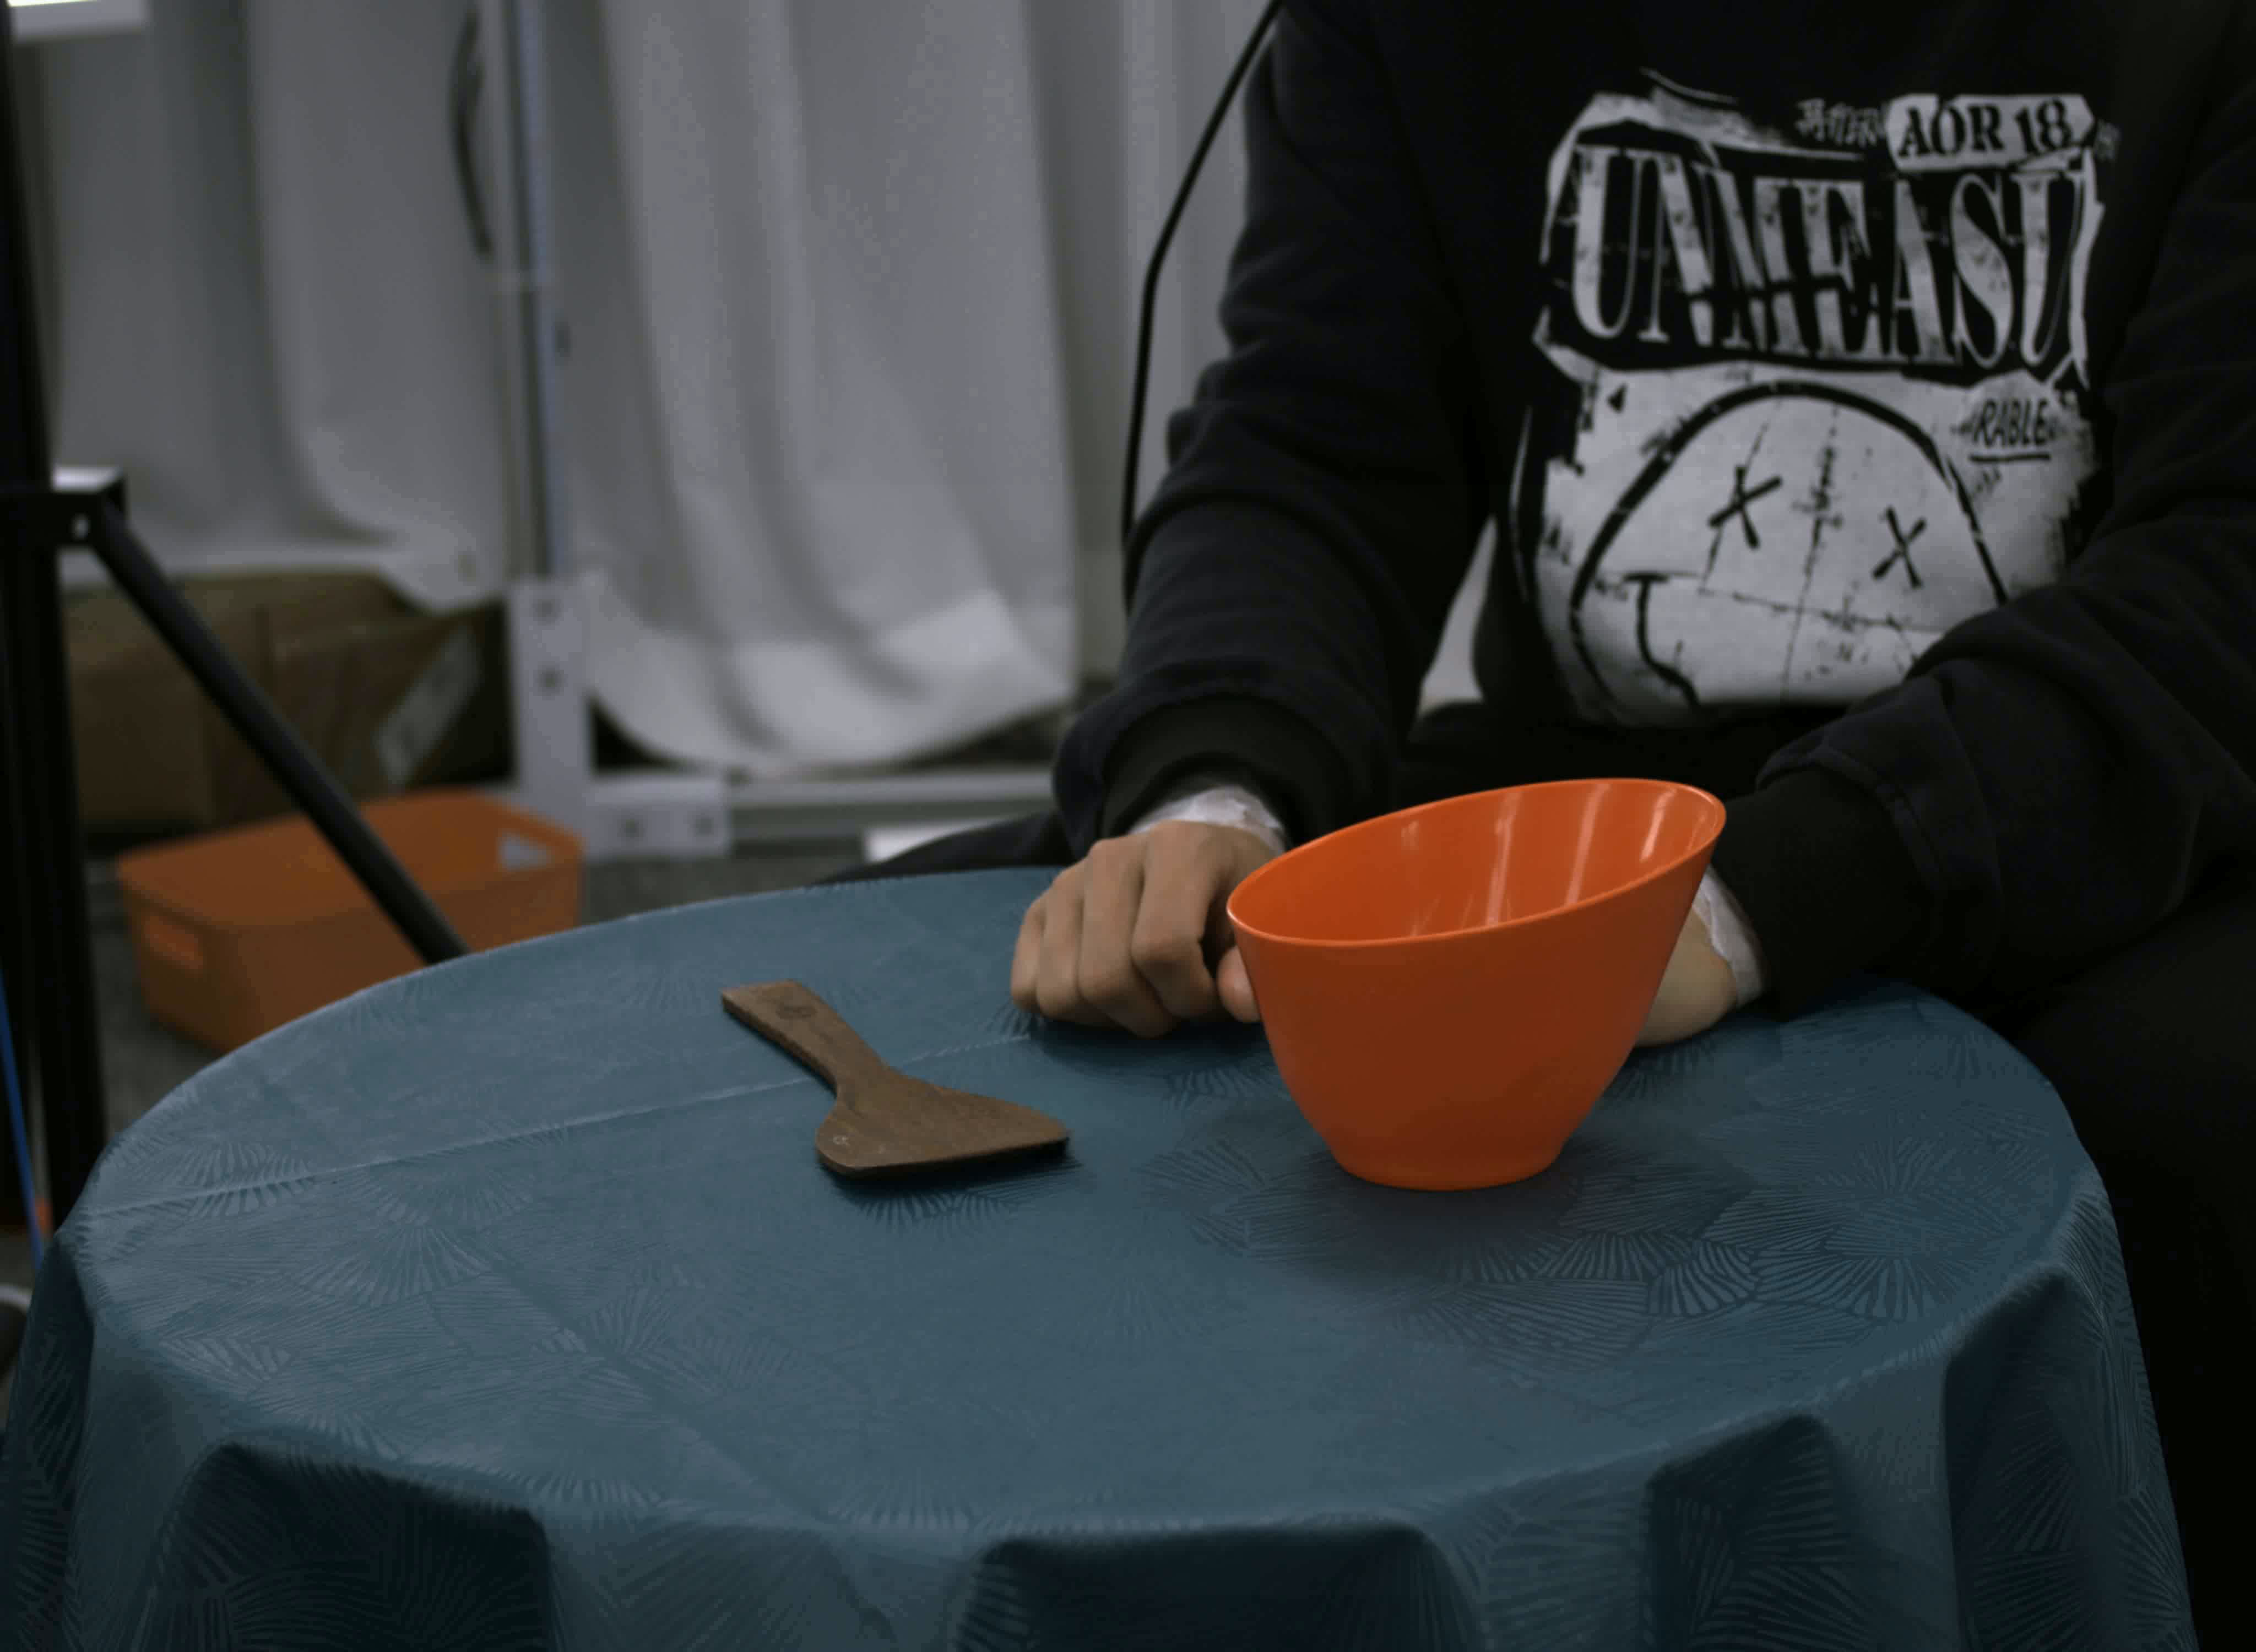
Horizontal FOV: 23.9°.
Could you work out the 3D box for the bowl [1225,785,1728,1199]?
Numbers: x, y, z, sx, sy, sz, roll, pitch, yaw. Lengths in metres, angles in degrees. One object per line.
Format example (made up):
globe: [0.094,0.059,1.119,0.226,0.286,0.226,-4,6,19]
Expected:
bowl: [0.103,0.051,1.560,0.147,0.104,0.149,-2,16,-1]

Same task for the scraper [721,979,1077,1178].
scraper: [-0.084,0.078,1.665,0.074,0.011,0.215,-8,16,-20]
